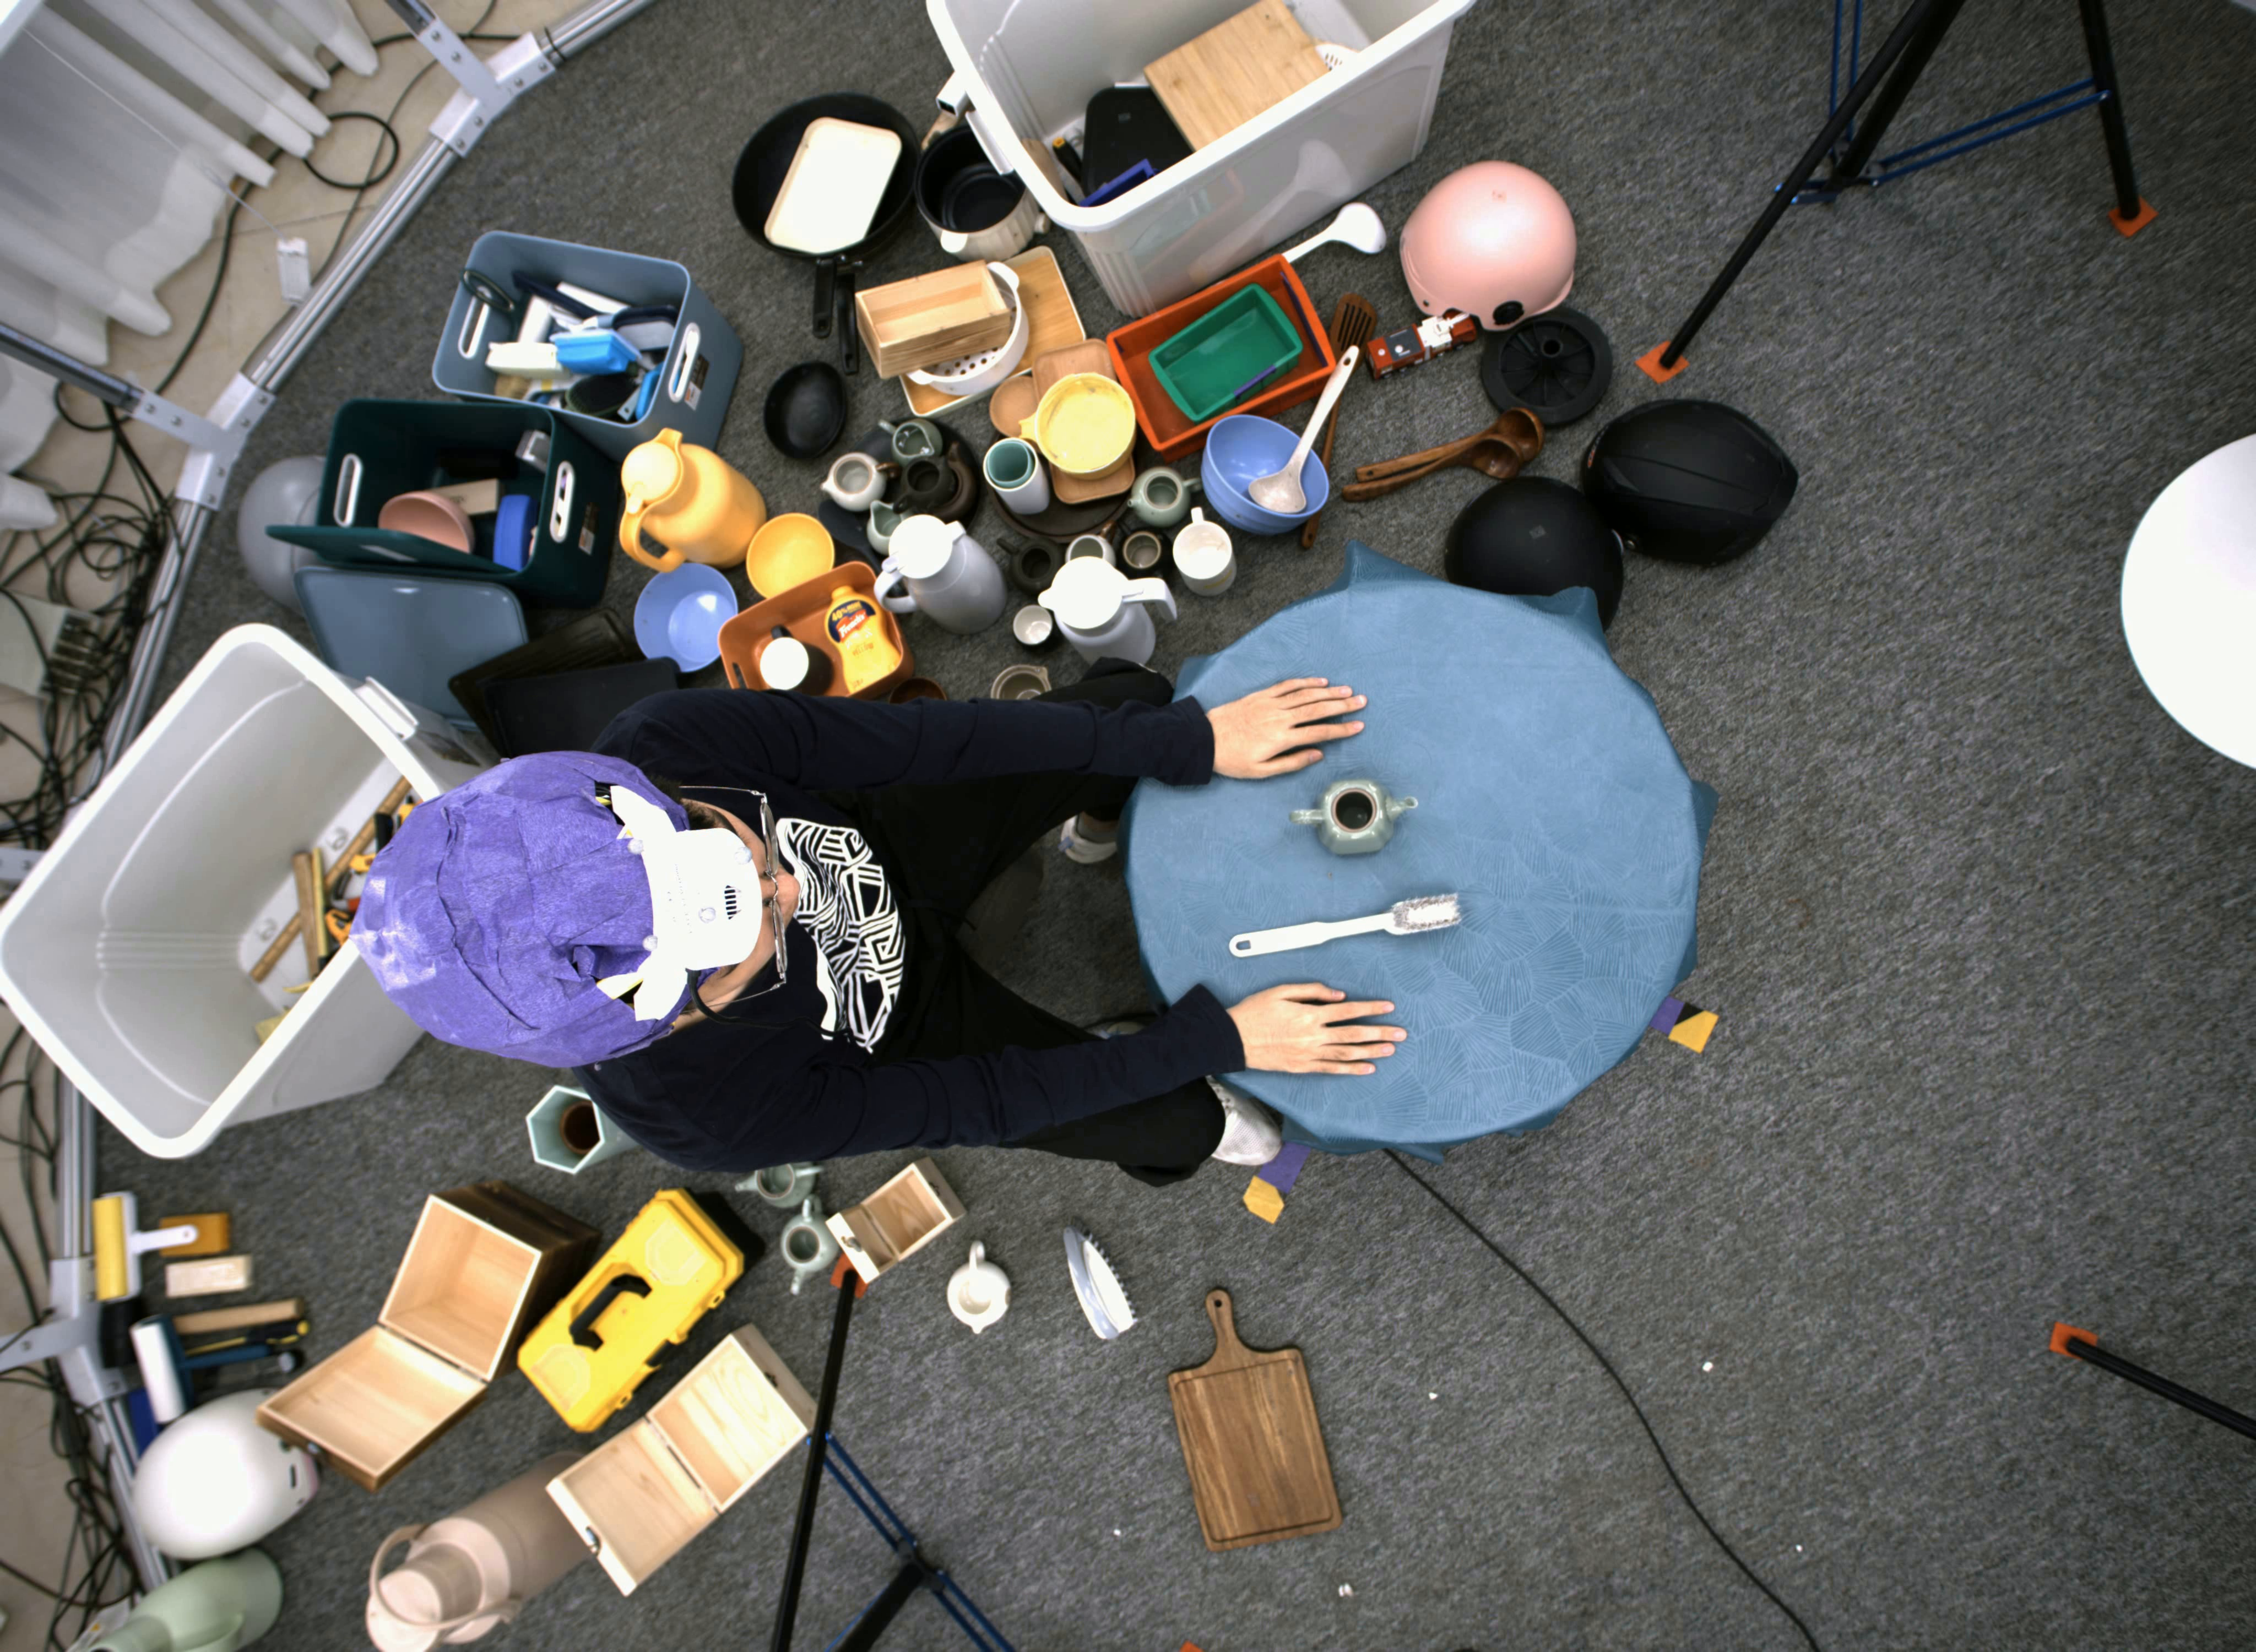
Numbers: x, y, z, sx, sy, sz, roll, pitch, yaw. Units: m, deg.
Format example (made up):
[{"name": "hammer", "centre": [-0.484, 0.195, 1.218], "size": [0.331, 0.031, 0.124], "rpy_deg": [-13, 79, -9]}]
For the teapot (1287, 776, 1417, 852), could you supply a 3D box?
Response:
[{"name": "teapot", "centre": [0.233, -0.016, 1.433], "size": [0.133, 0.075, 0.079], "rpy_deg": [-7, 85, 10]}]

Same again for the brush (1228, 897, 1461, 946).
[{"name": "brush", "centre": [0.222, 0.101, 1.442], "size": [0.245, 0.050, 0.034], "rpy_deg": [-7, 88, 10]}]
